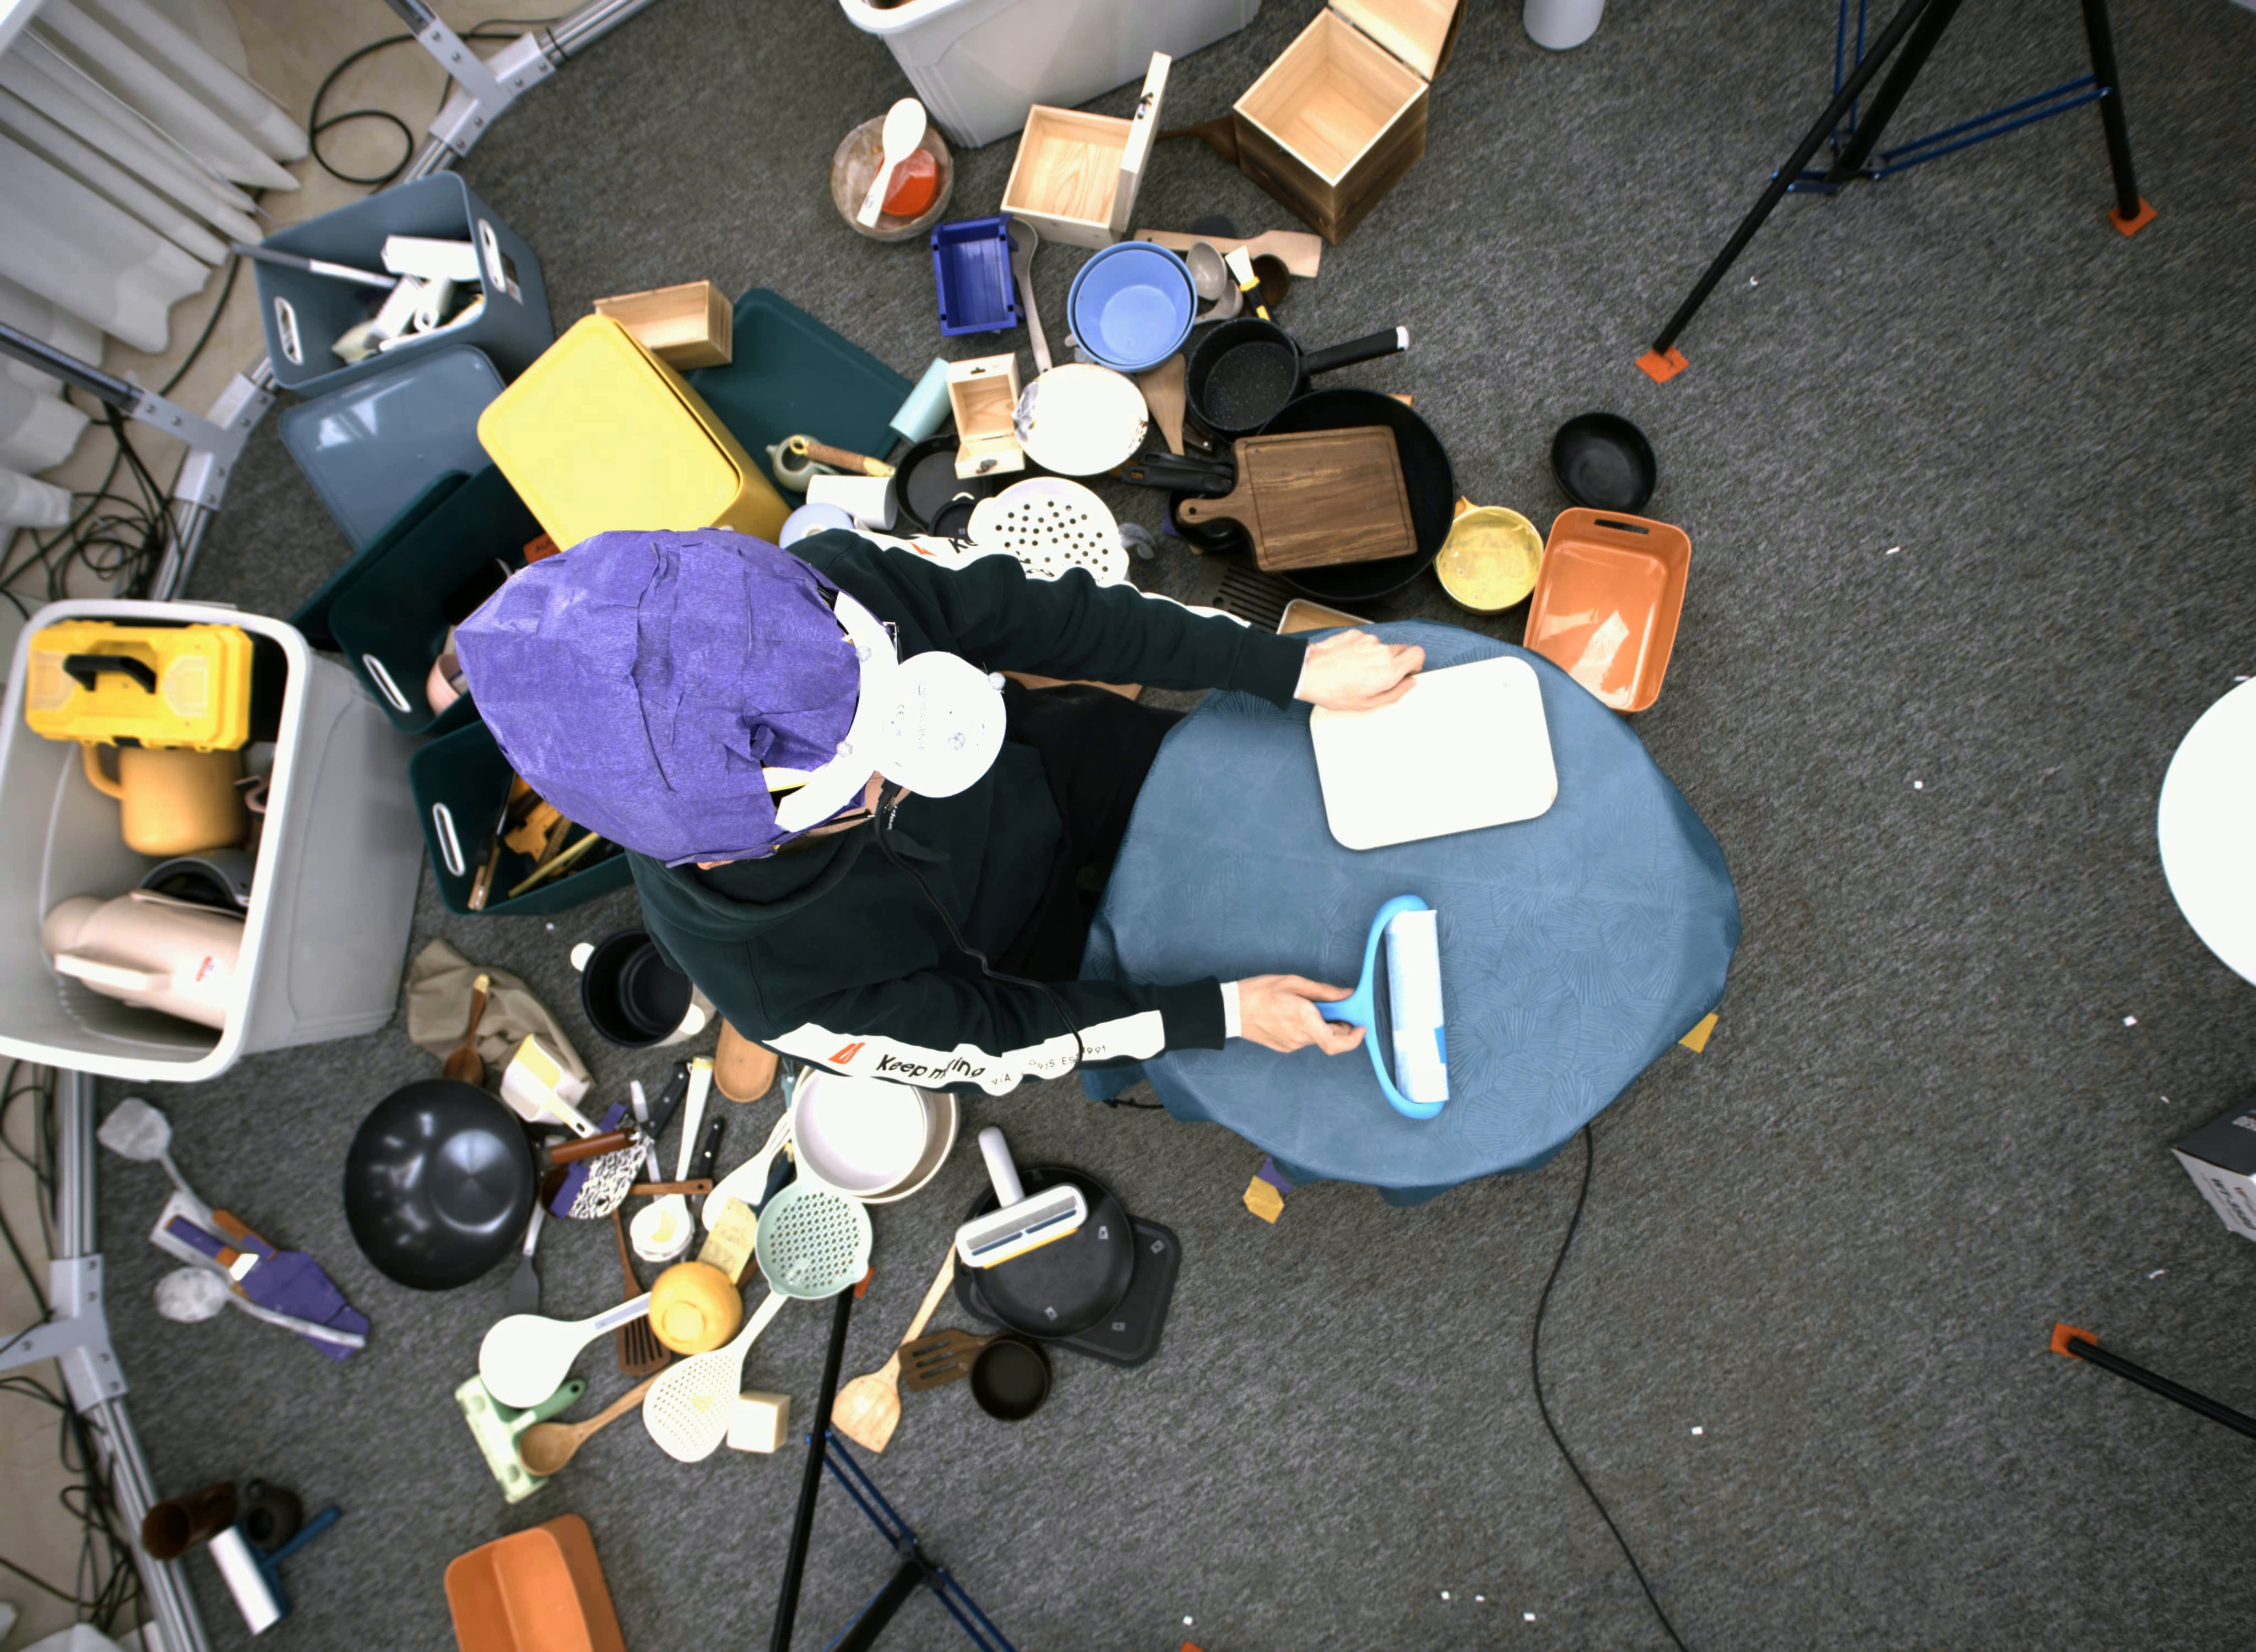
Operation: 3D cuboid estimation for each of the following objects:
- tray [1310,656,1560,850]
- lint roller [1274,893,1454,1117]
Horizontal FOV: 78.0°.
[{"bbox_3d":[0.319,-0.077,1.436,0.241,0.017,0.171,-11,92,10],"label":"tray"},{"bbox_3d":[0.239,0.189,1.426,0.181,0.068,0.228,-7,87,9],"label":"lint roller"}]
